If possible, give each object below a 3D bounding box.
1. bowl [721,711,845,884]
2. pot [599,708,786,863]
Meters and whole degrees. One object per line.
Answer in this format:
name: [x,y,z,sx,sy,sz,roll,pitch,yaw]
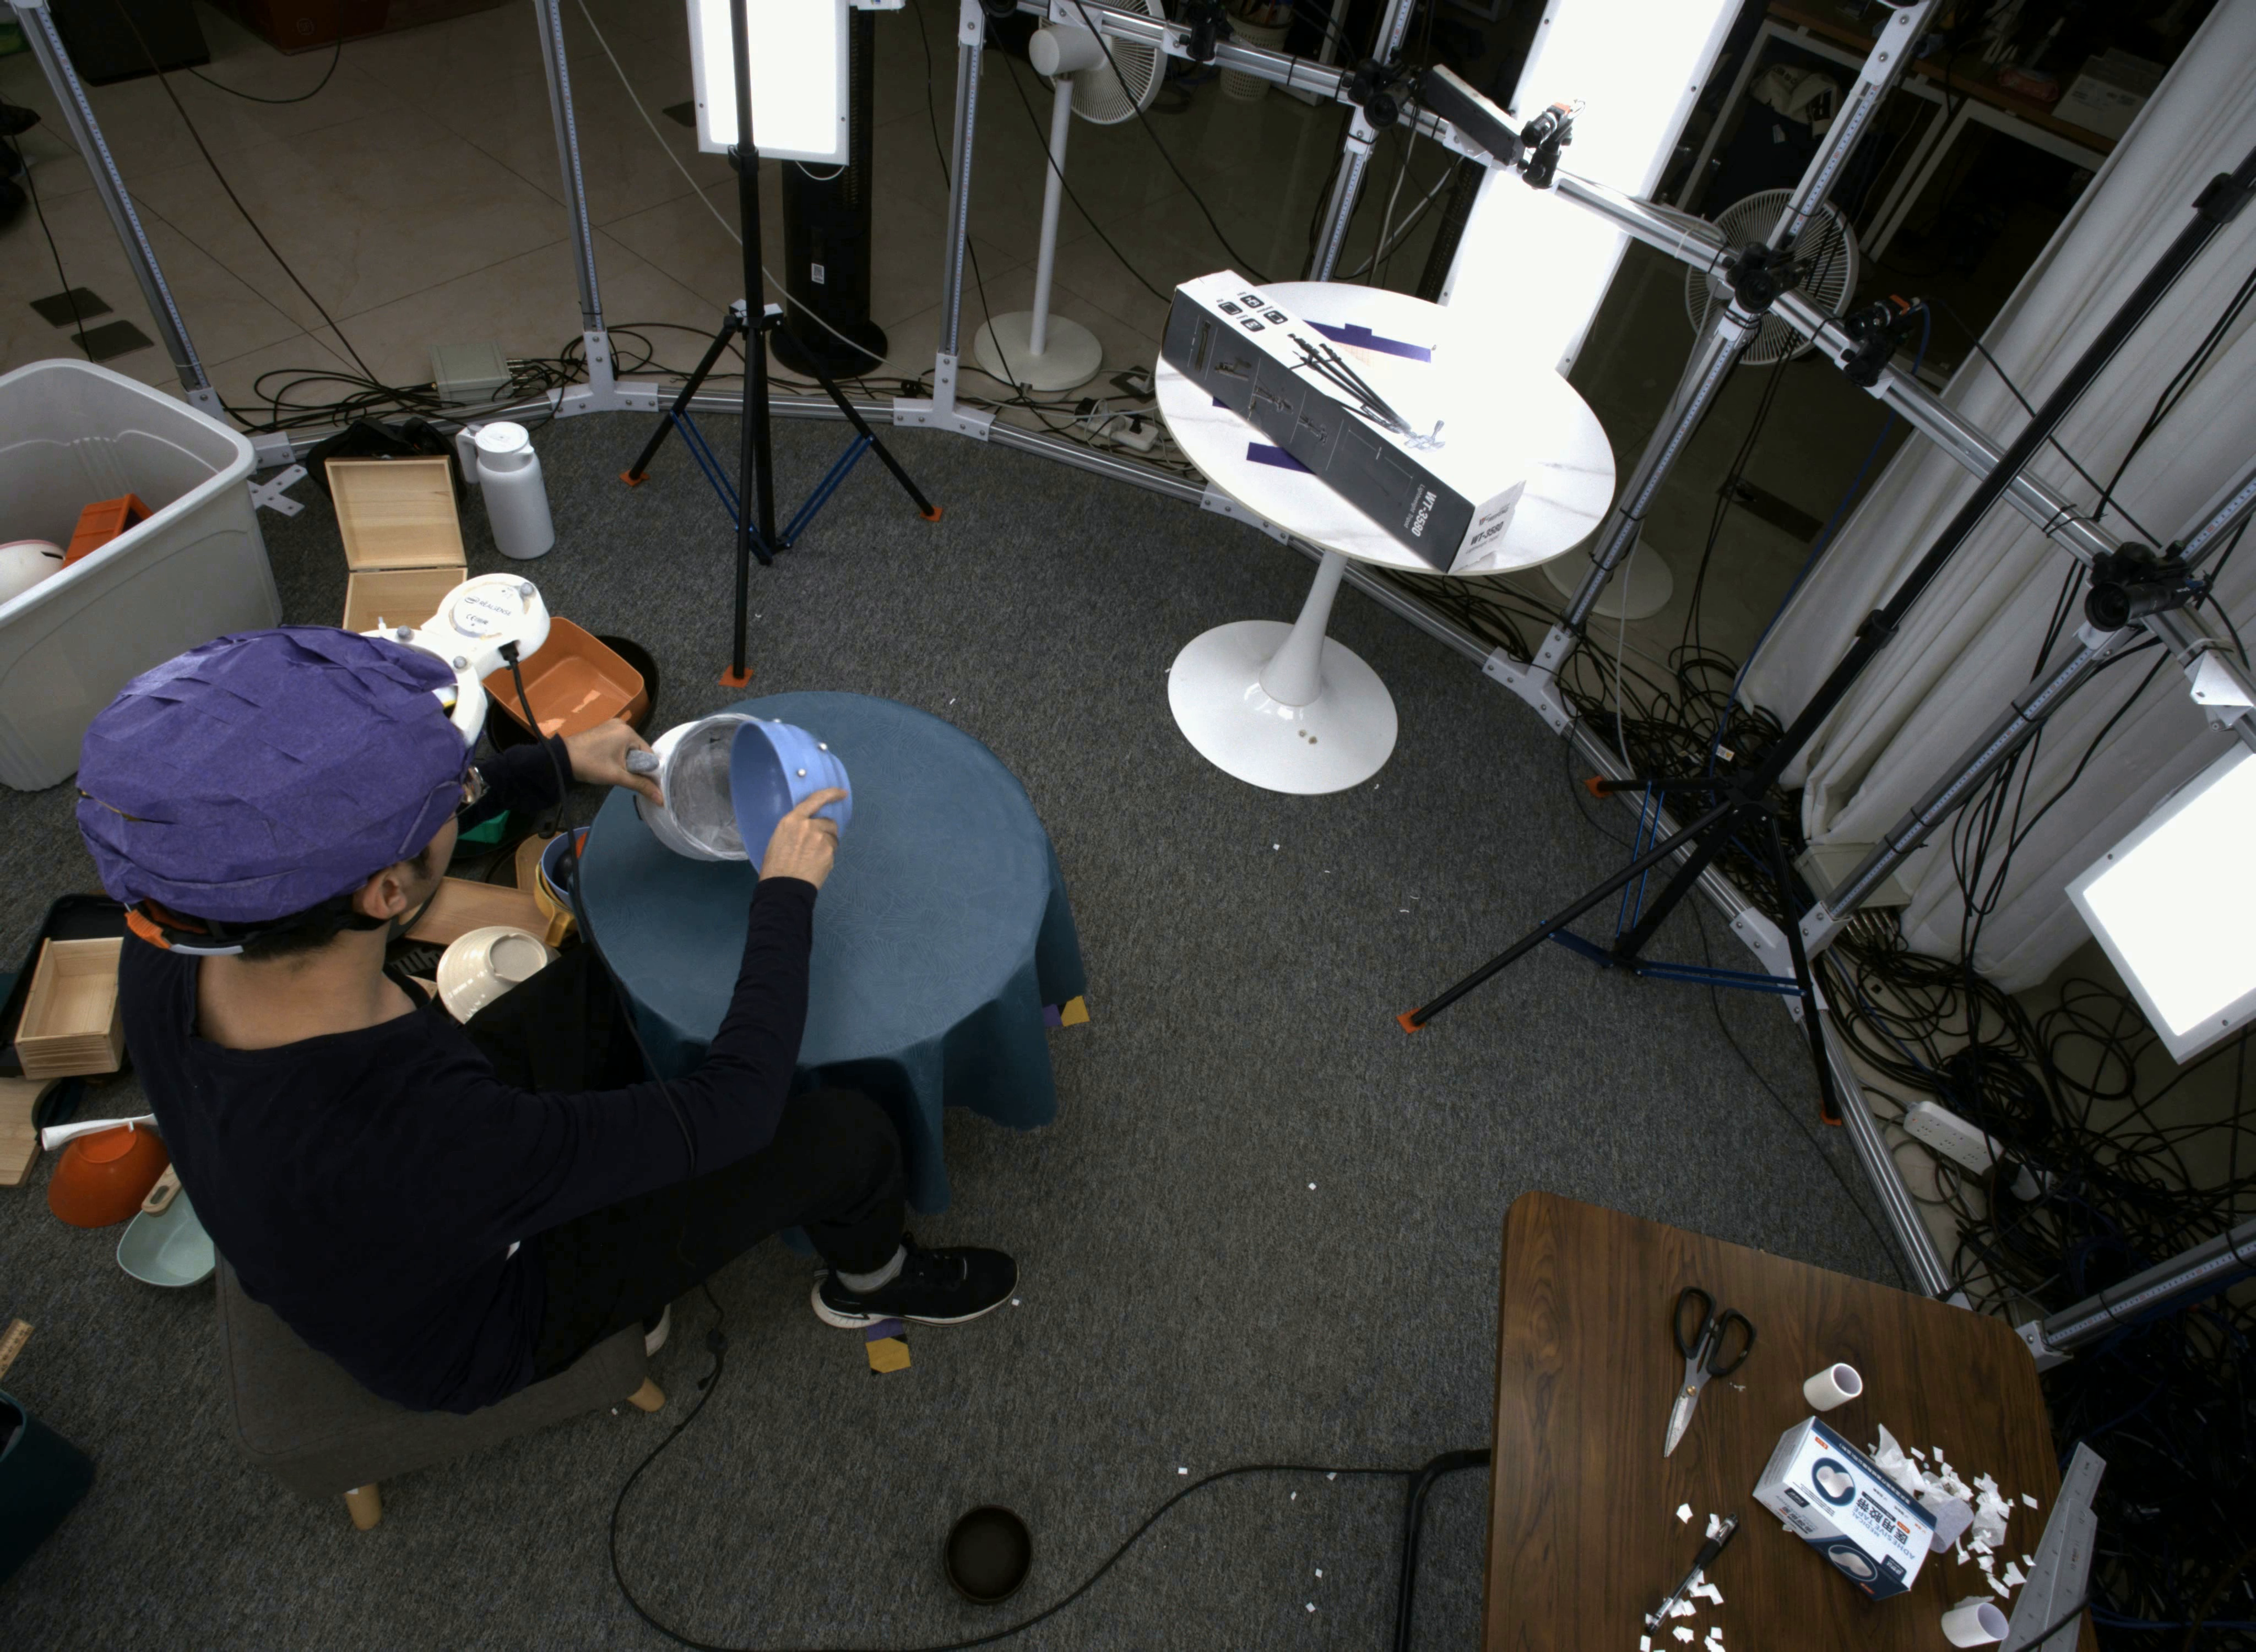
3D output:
bowl: [-0.395,-0.039,1.518,0.097,0.199,0.191,-11,55,-38]
pot: [-0.531,-0.054,1.584,0.239,0.133,0.179,16,77,-37]
